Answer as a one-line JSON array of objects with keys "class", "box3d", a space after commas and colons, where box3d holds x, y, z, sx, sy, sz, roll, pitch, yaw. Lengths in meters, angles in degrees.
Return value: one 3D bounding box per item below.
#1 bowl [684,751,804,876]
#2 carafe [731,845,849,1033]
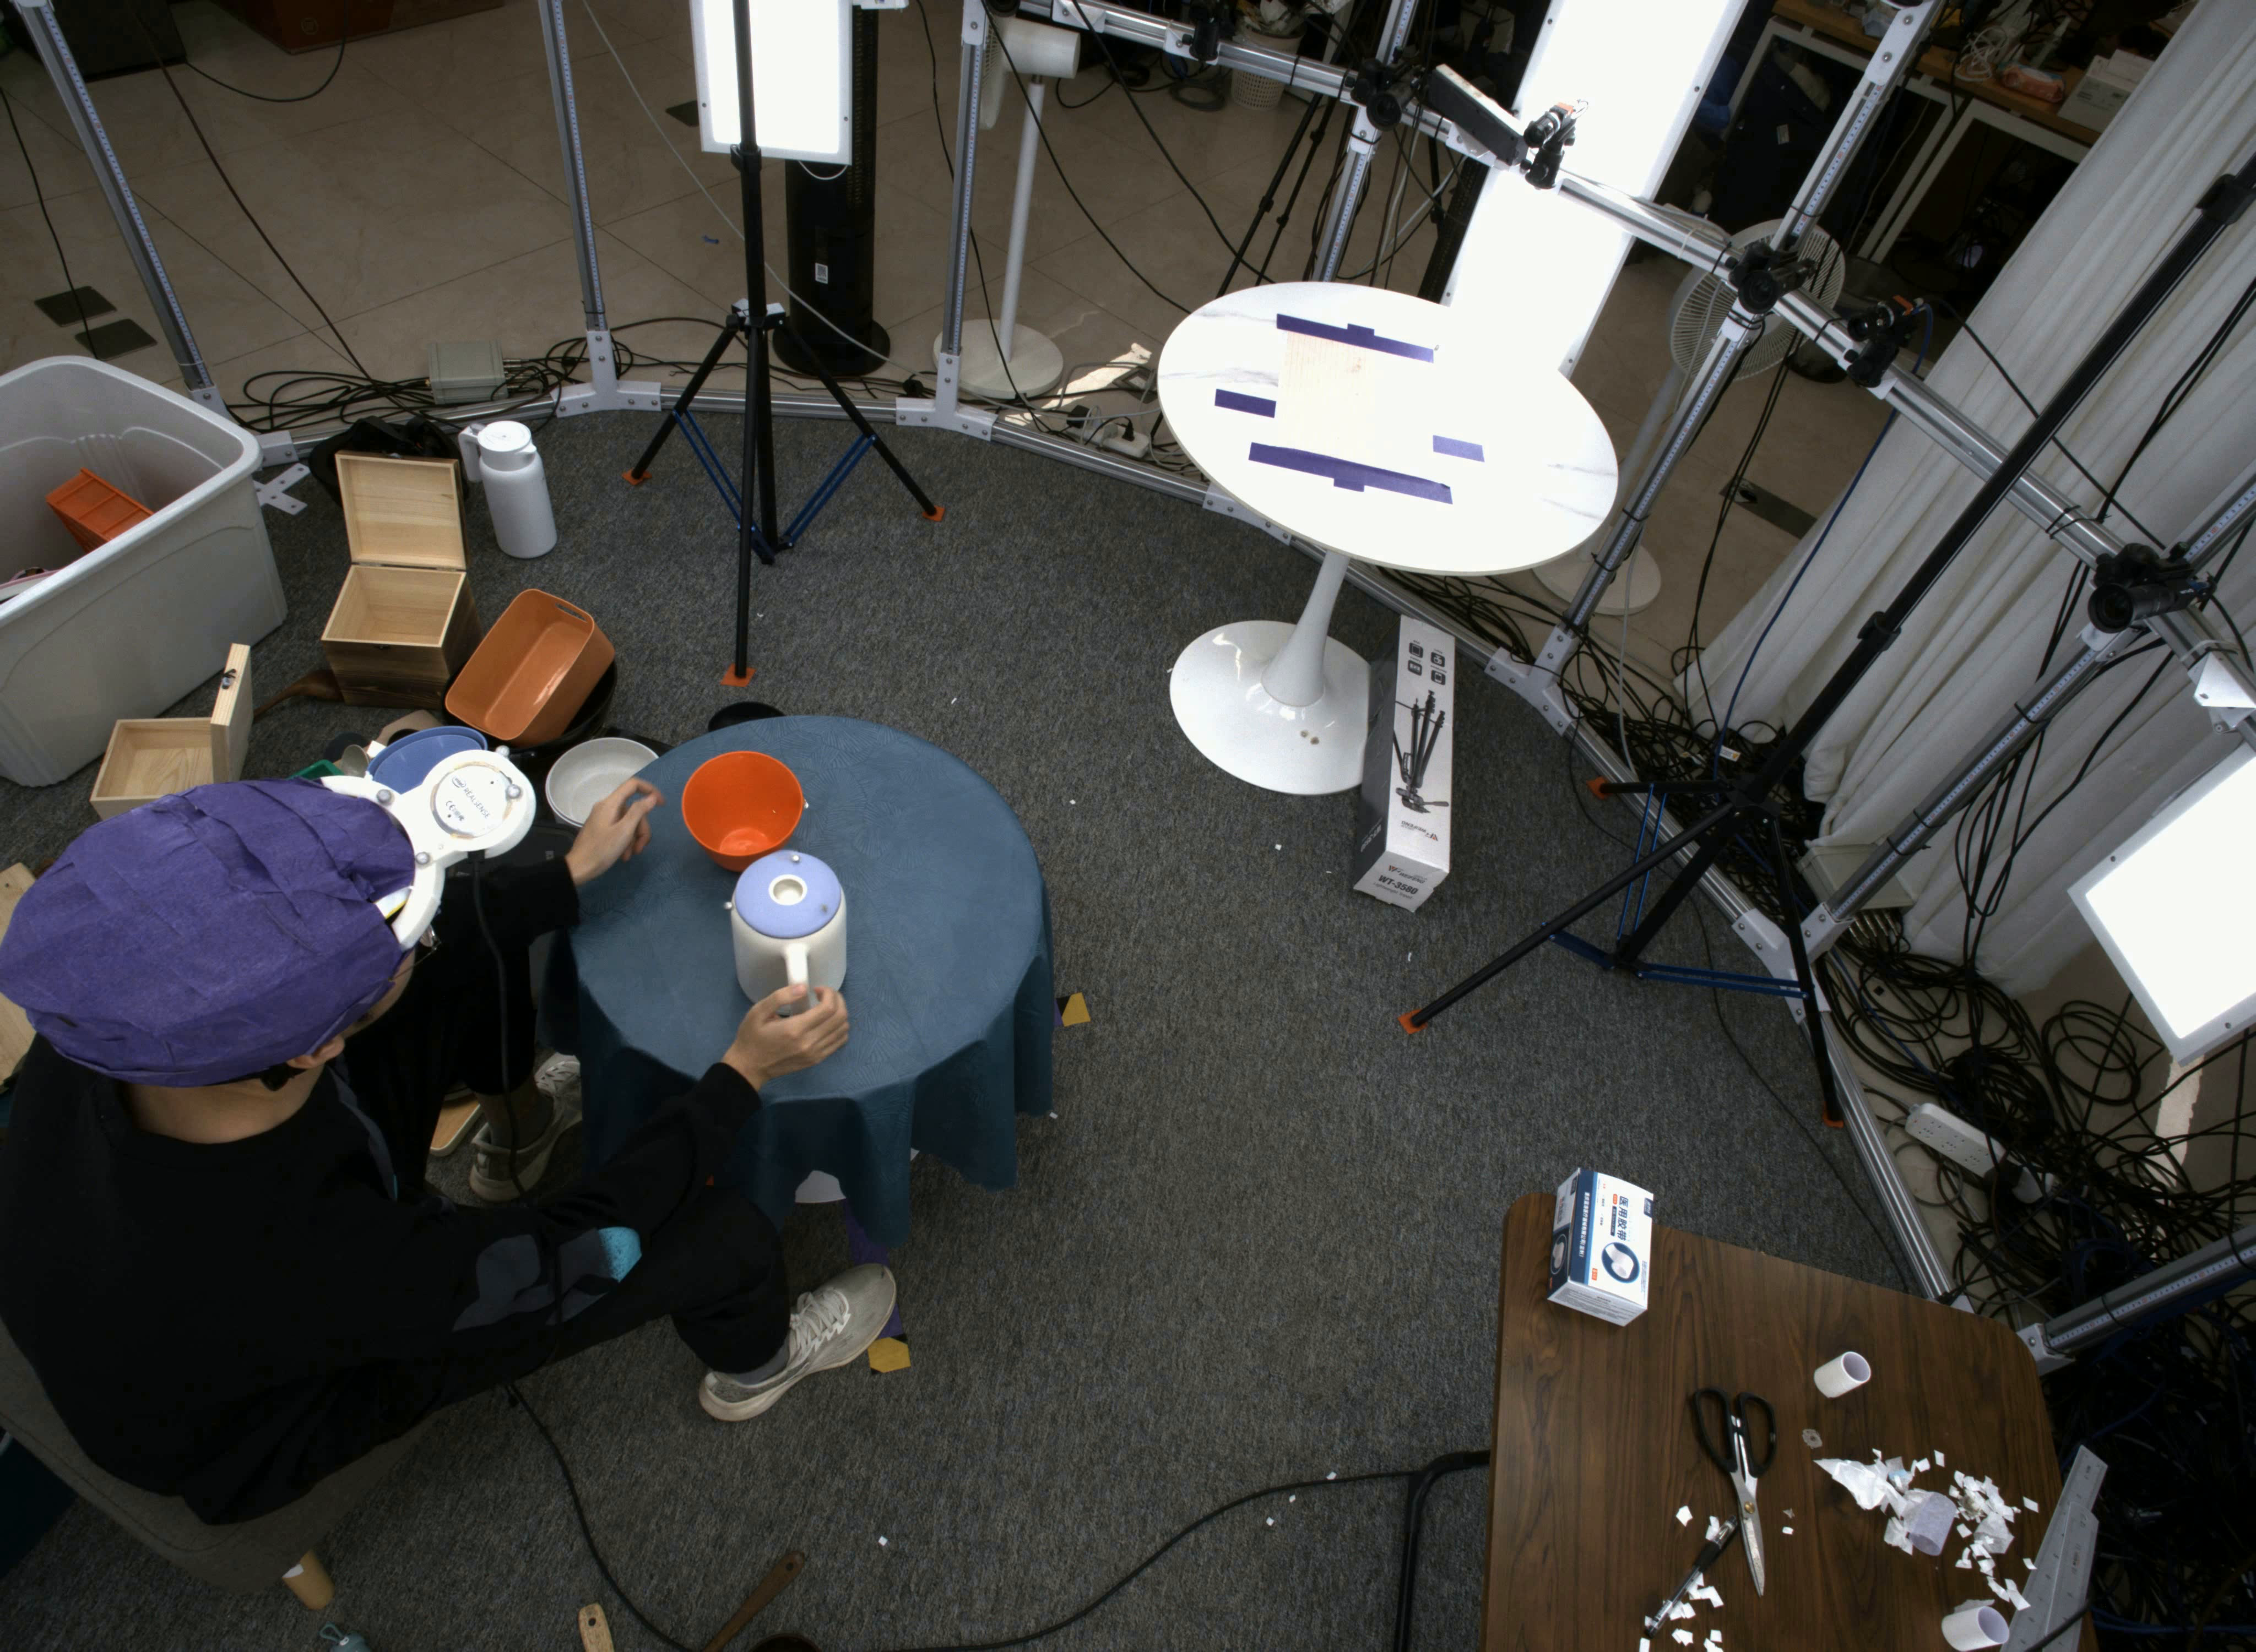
[{"class": "bowl", "box3d": [-0.488, -0.006, 1.652, 0.148, 0.107, 0.145, 8, 52, -8]}, {"class": "carafe", "box3d": [-0.392, 0.144, 1.522, 0.132, 0.186, 0.187, -9, 58, -18]}]
